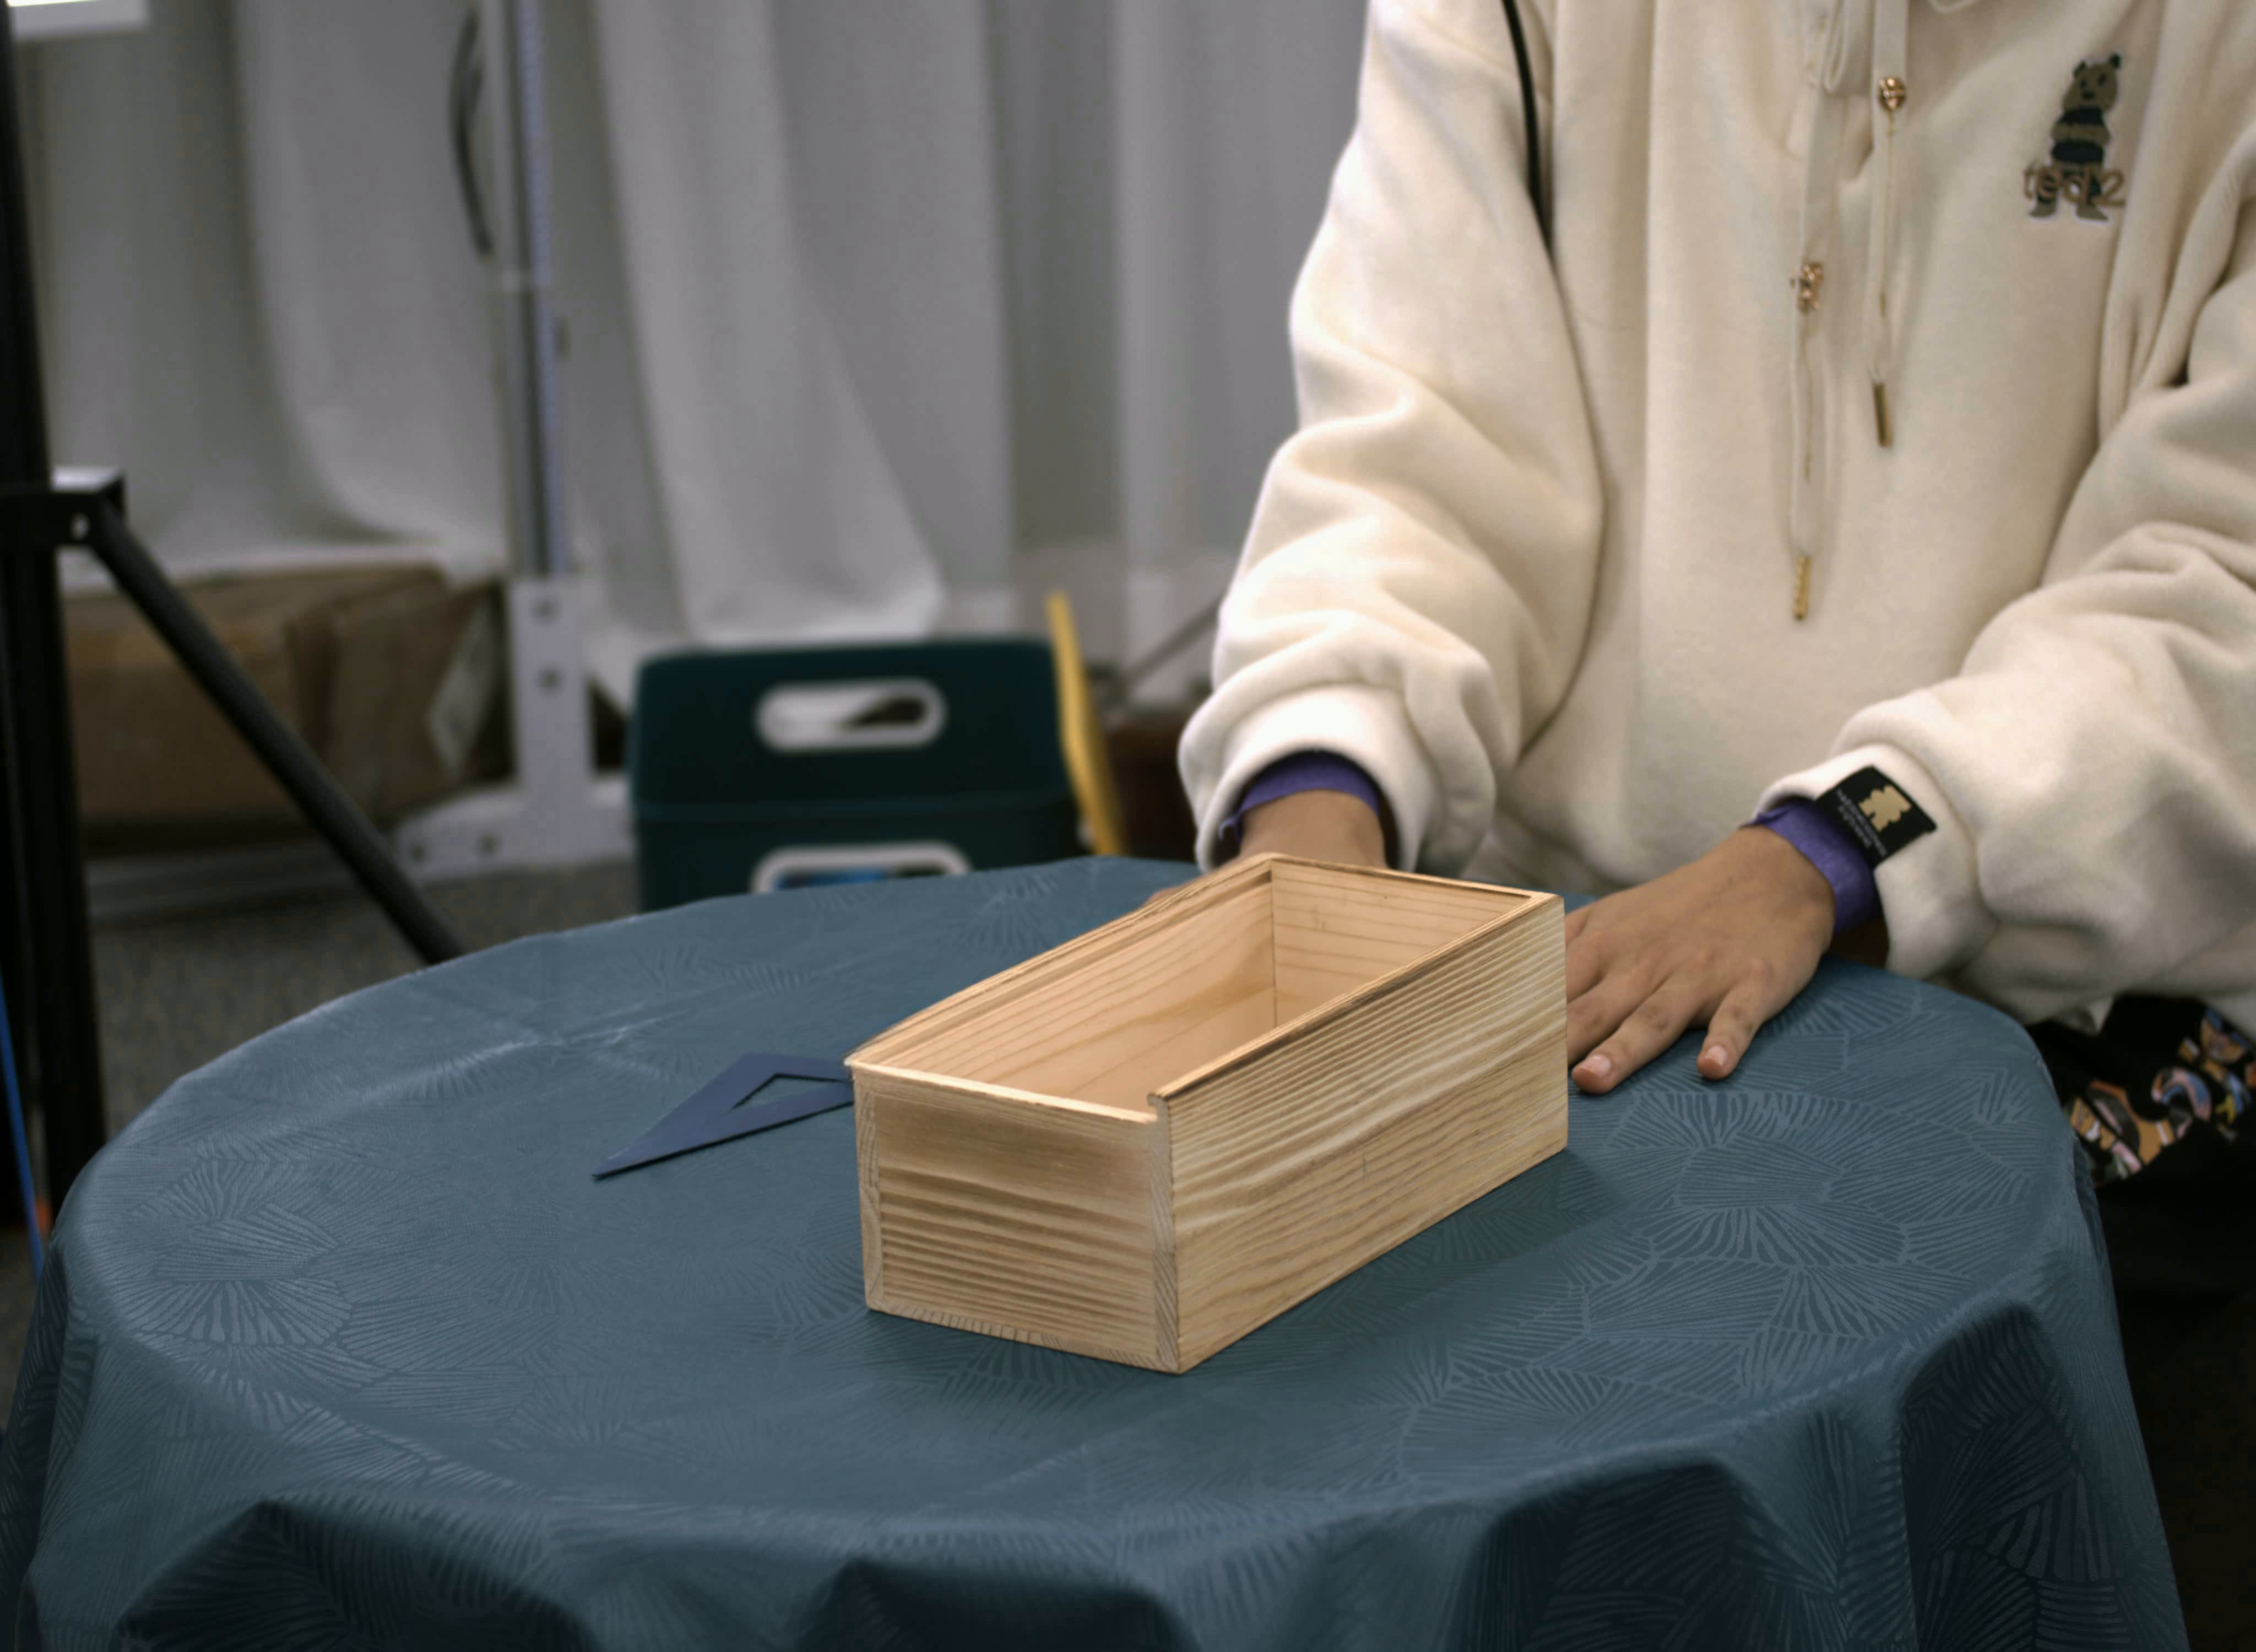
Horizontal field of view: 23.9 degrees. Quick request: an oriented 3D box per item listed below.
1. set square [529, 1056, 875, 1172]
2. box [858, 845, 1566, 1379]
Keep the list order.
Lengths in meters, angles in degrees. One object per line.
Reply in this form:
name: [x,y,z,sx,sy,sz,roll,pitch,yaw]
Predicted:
set square: [-0.137,0.085,1.653,0.129,0.006,0.062,-13,20,-32]
box: [0.028,0.077,1.516,0.109,0.080,0.207,9,20,33]
